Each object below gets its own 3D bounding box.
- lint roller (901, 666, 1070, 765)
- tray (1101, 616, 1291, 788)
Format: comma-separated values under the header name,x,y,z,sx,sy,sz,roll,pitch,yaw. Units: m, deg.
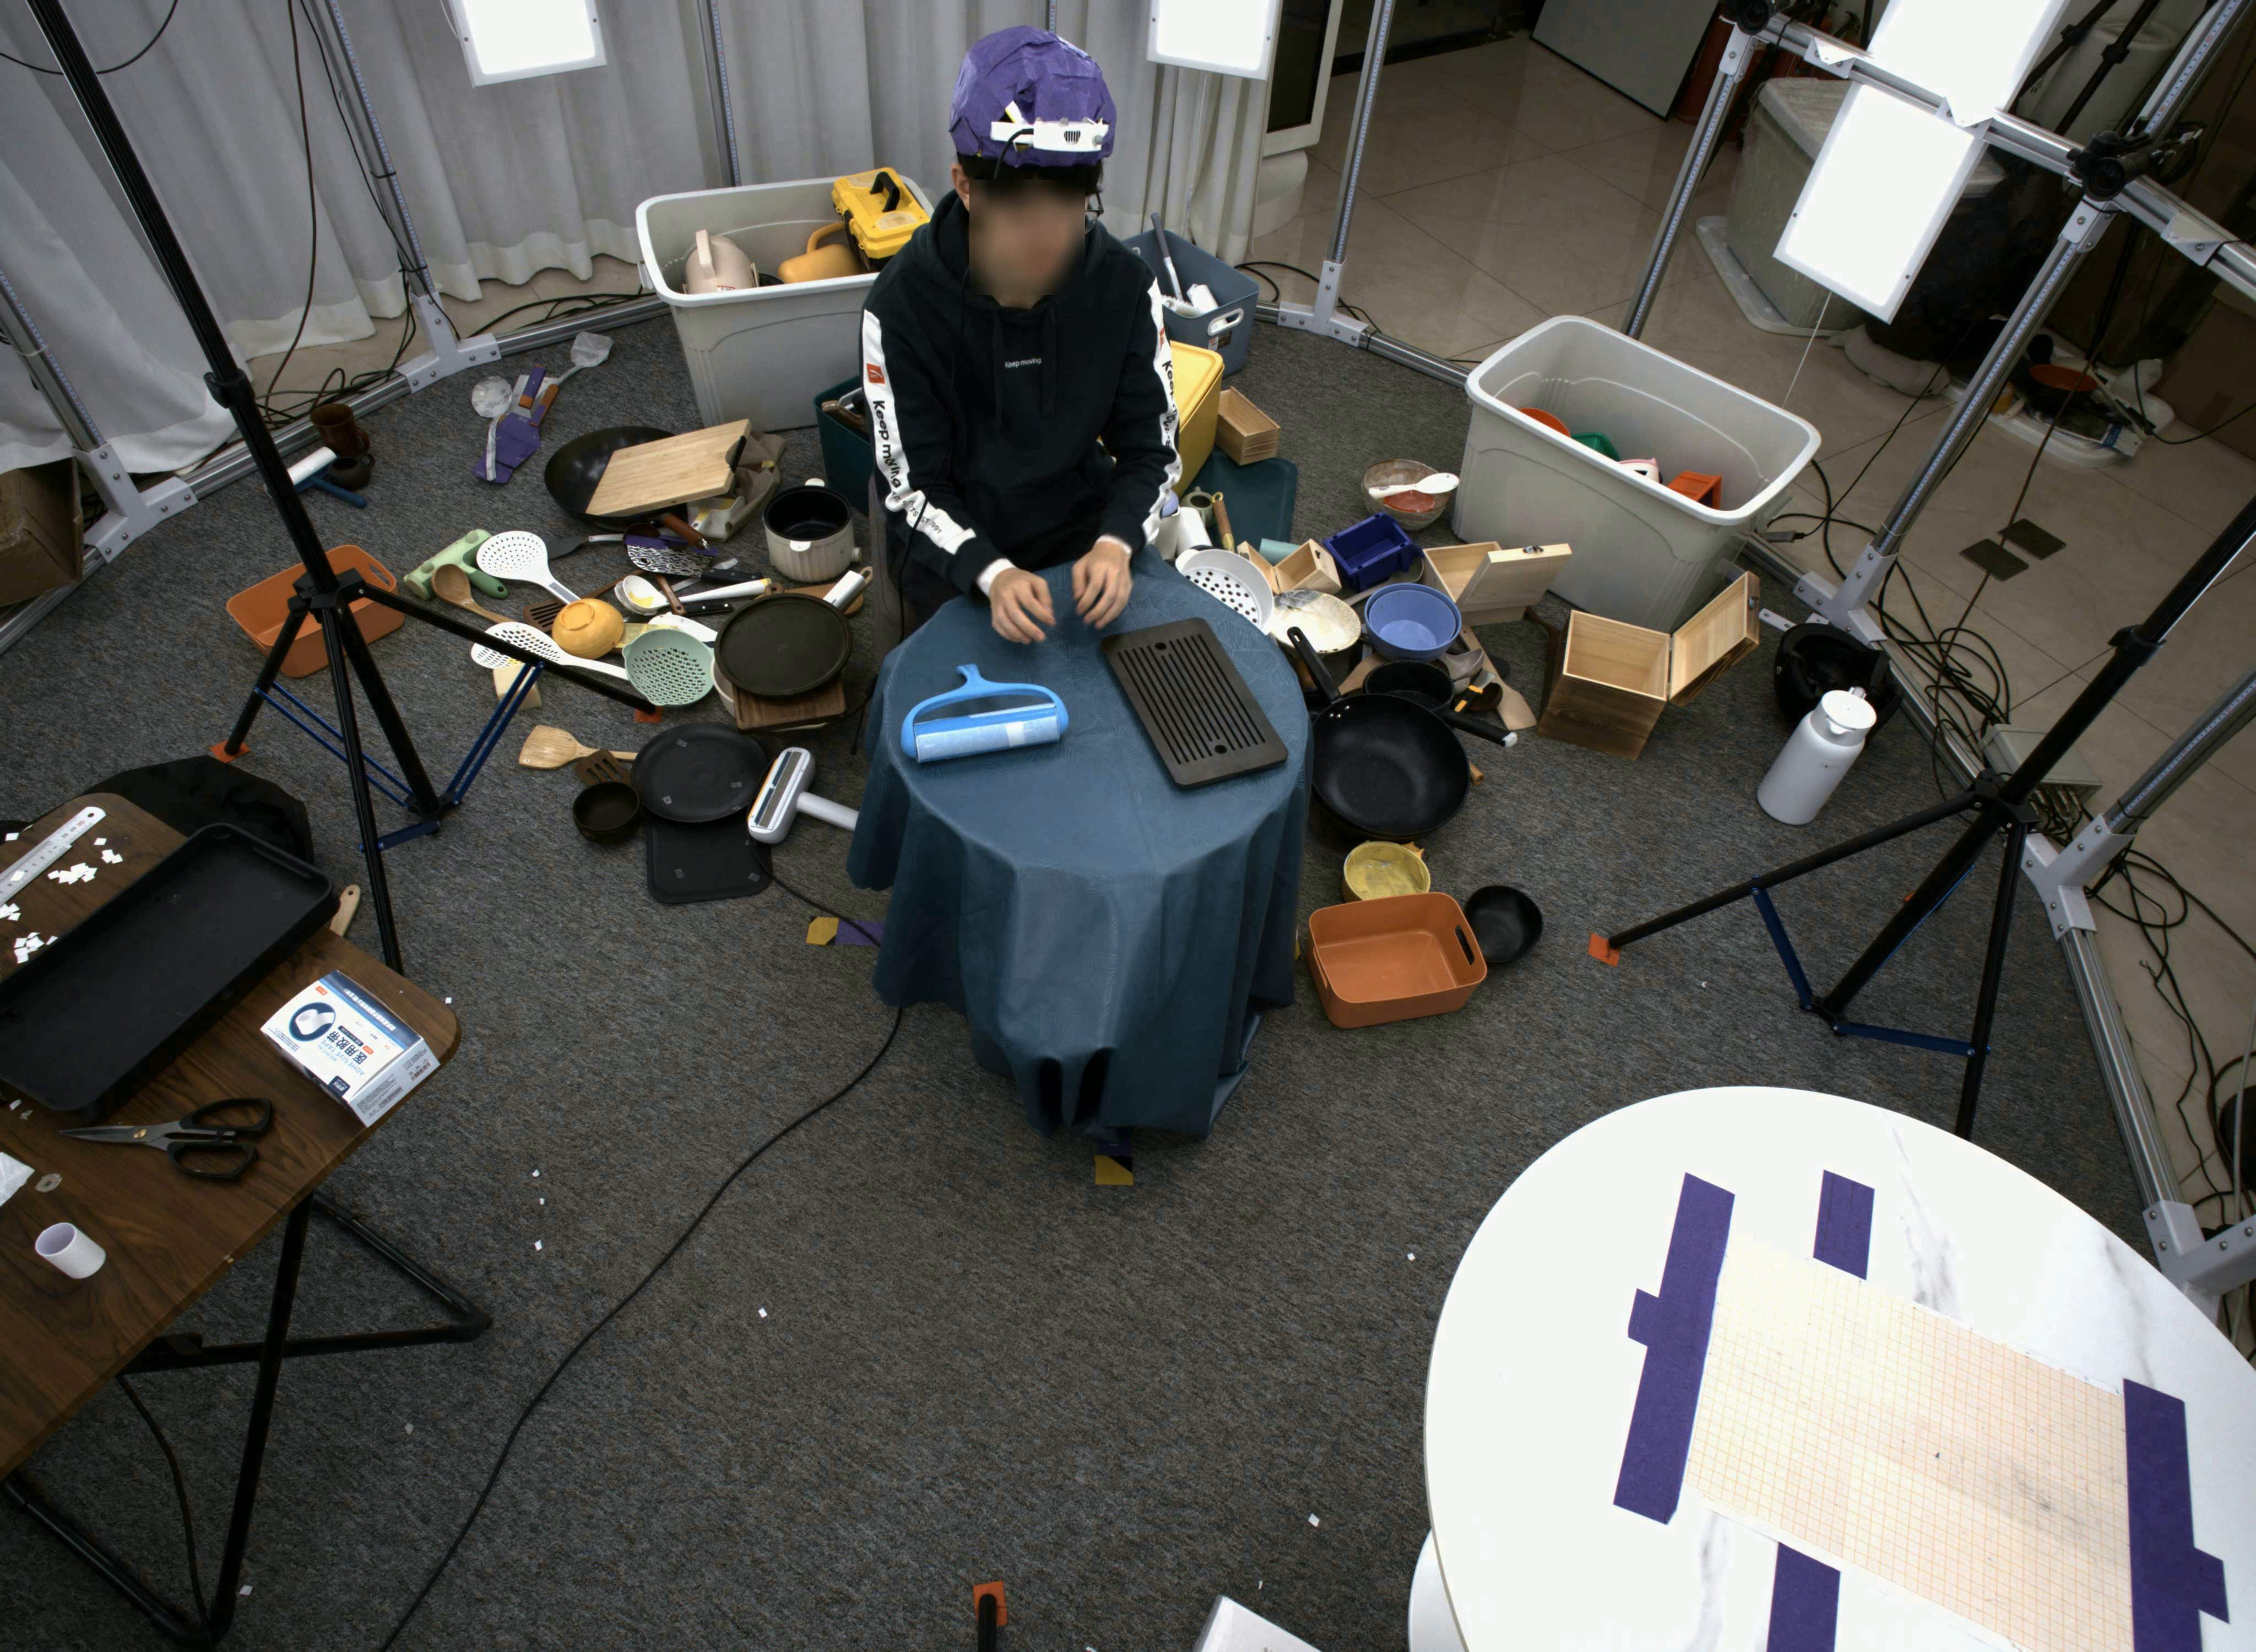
name,x,y,z,sx,sy,sz,roll,pitch,yaw
lint roller,-0.208,-0.172,1.765,0.229,0.066,0.184,-13,52,-12
tray,0.091,-0.180,1.818,0.170,0.018,0.313,-15,52,-16
